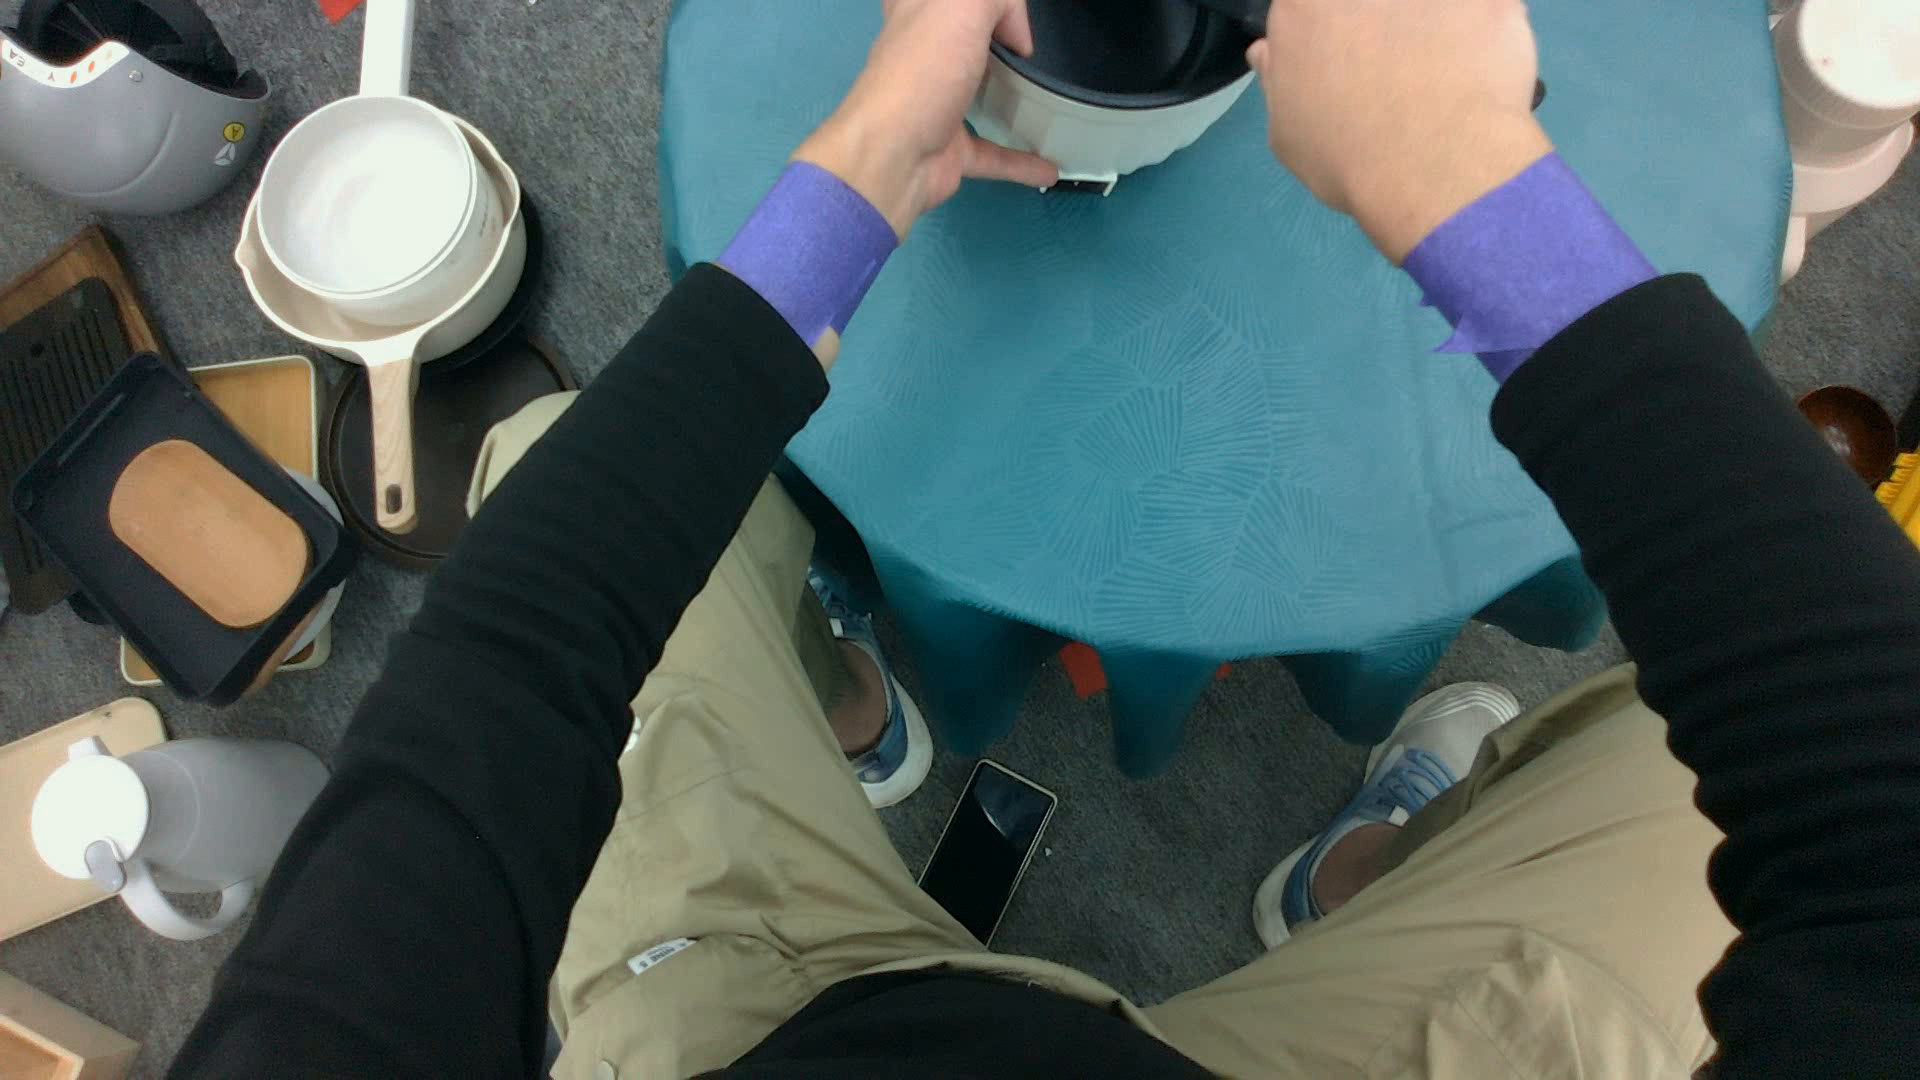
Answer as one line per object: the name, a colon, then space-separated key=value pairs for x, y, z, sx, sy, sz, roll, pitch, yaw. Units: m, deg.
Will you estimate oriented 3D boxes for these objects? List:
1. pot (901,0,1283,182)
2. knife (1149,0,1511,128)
pot: x=0.058 y=-0.287 z=0.682 sx=0.240 sy=0.142 sz=0.190 roll=1 pitch=89 yaw=-7
knife: x=0.119 y=-0.234 z=0.585 sx=0.081 sy=0.021 sz=0.303 roll=-23 pitch=42 yaw=-12
